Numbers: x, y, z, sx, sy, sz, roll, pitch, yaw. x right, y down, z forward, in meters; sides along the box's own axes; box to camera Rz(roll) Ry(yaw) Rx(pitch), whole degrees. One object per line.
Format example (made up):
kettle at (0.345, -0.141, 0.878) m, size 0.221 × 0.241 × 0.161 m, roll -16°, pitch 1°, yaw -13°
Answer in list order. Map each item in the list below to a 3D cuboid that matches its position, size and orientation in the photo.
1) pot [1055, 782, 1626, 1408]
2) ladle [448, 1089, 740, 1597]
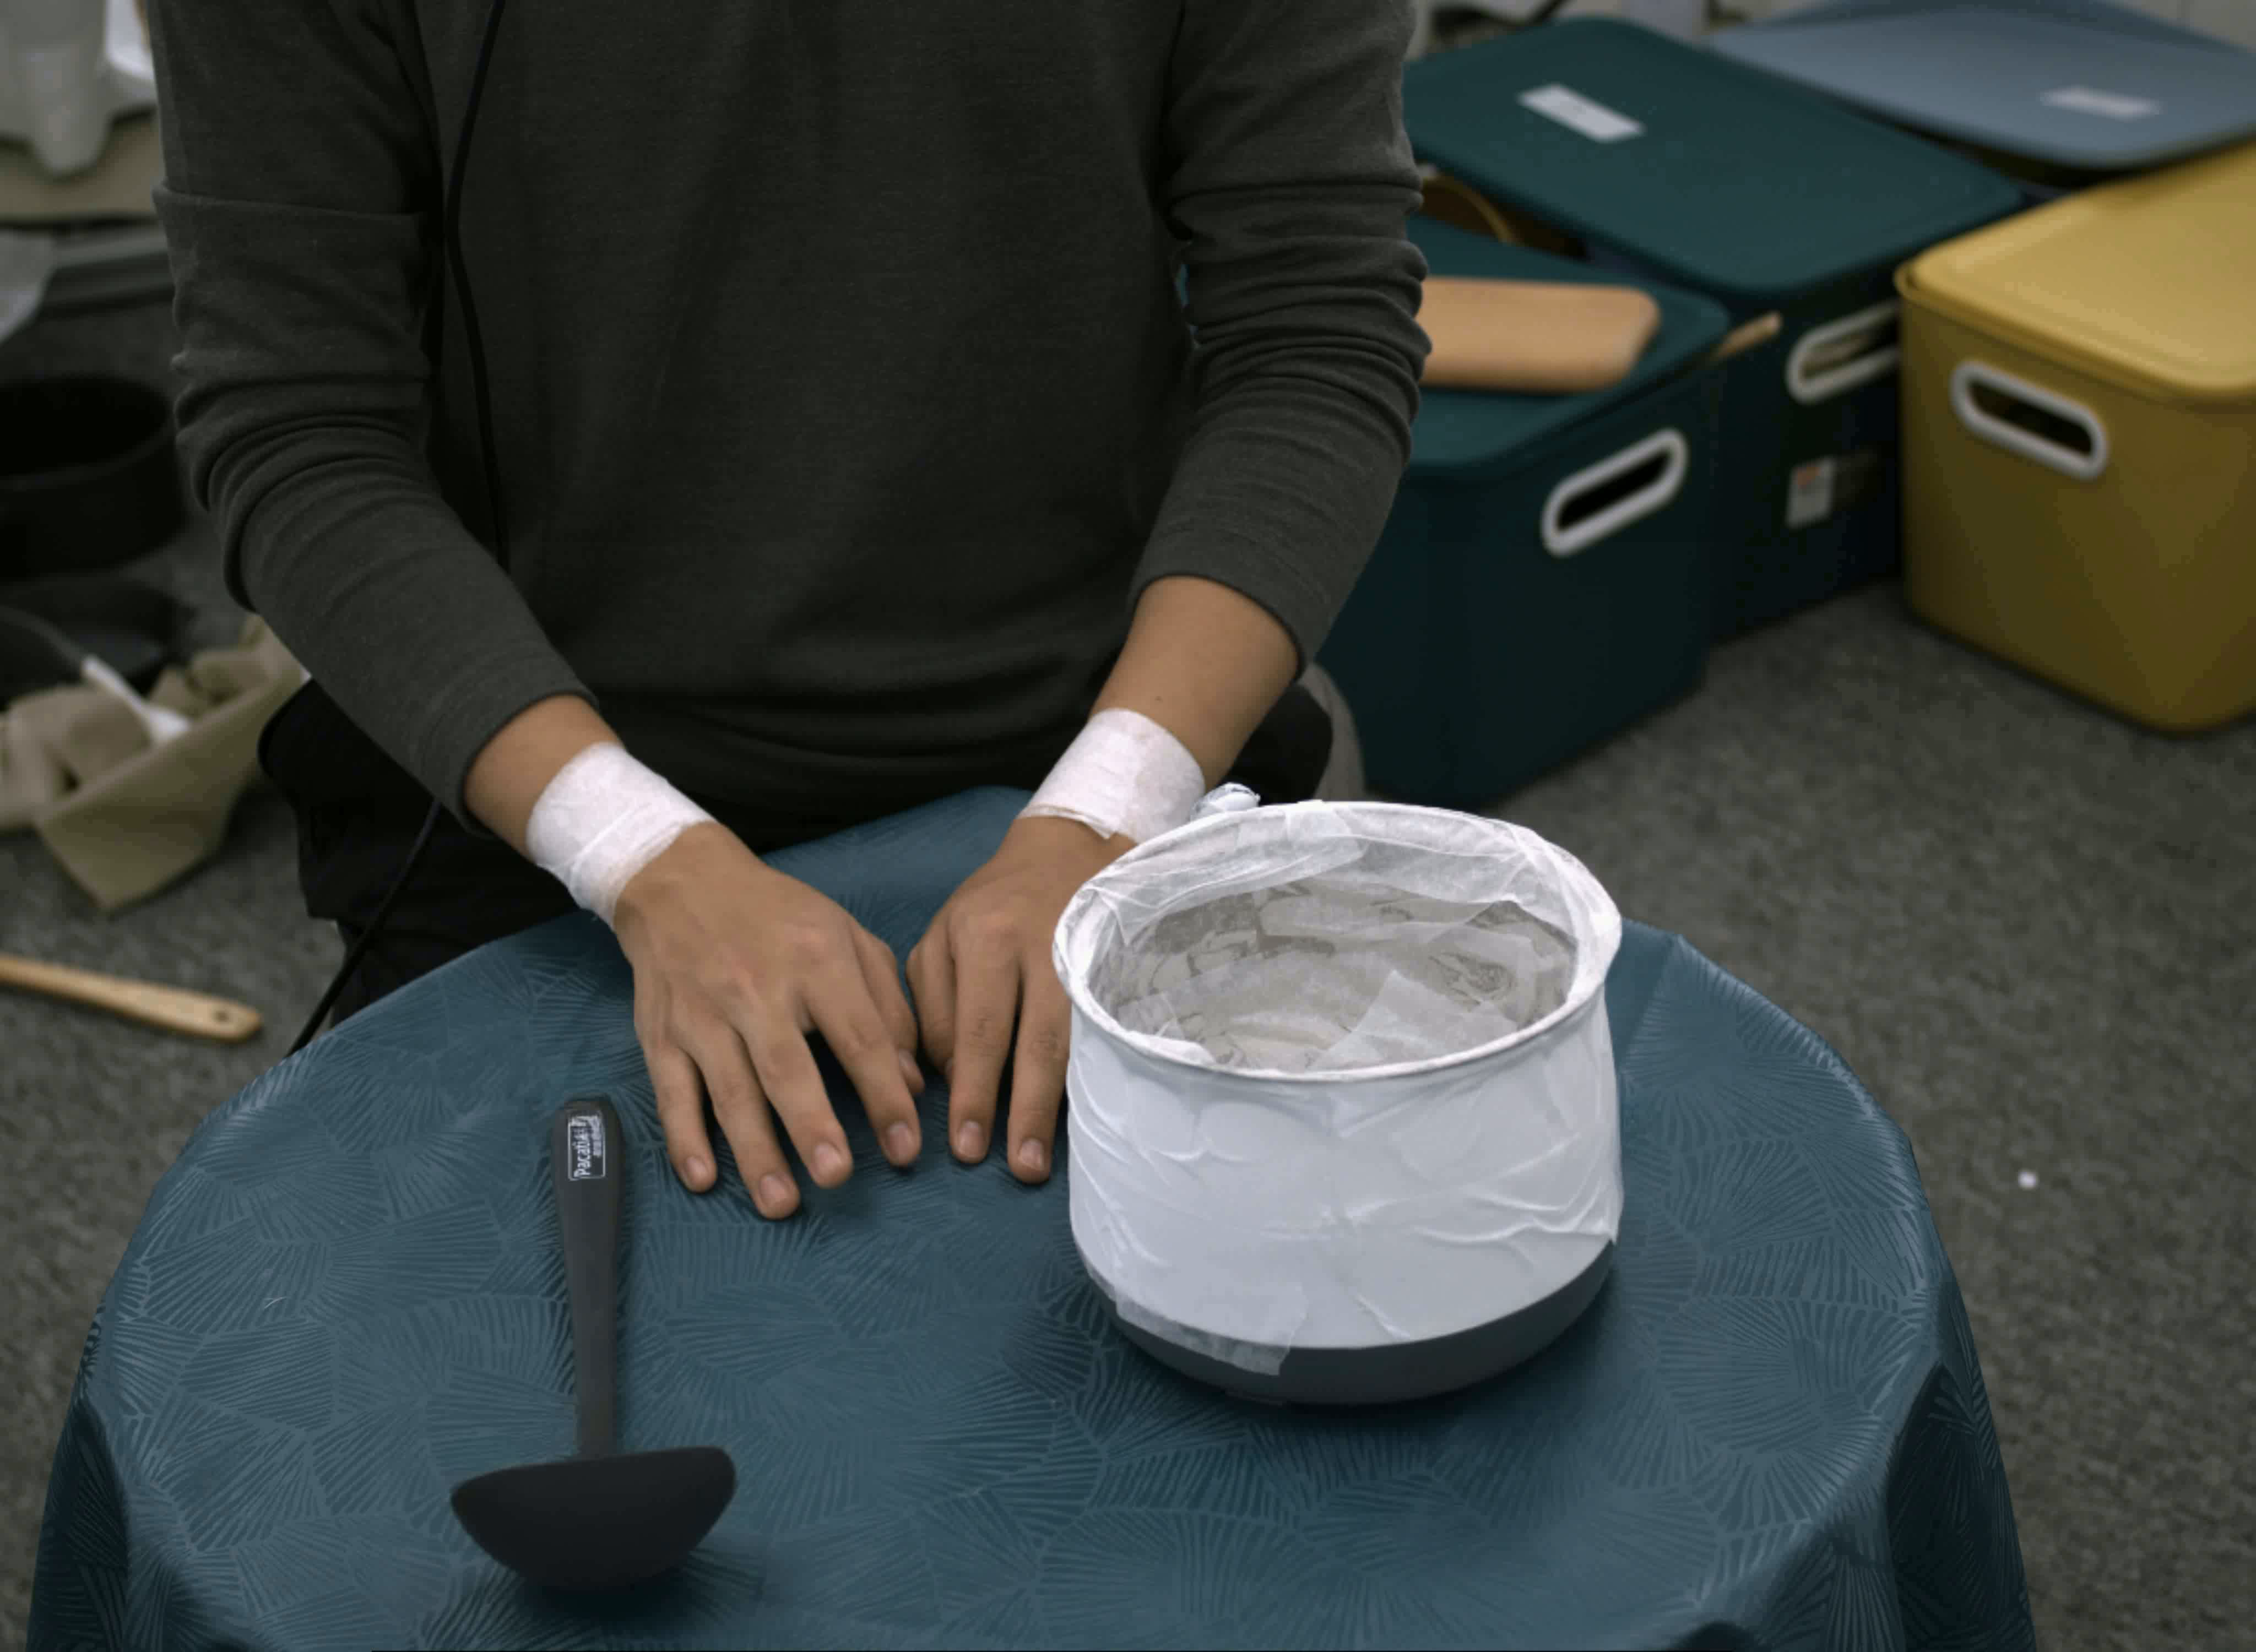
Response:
pot at (0.059, 0.078, 1.795) m, size 0.179 × 0.135 × 0.235 m, roll -11°, pitch 28°, yaw -16°
ladle at (-0.170, 0.144, 1.767) m, size 0.086 × 0.063 × 0.318 m, roll -1°, pitch 27°, yaw -6°
